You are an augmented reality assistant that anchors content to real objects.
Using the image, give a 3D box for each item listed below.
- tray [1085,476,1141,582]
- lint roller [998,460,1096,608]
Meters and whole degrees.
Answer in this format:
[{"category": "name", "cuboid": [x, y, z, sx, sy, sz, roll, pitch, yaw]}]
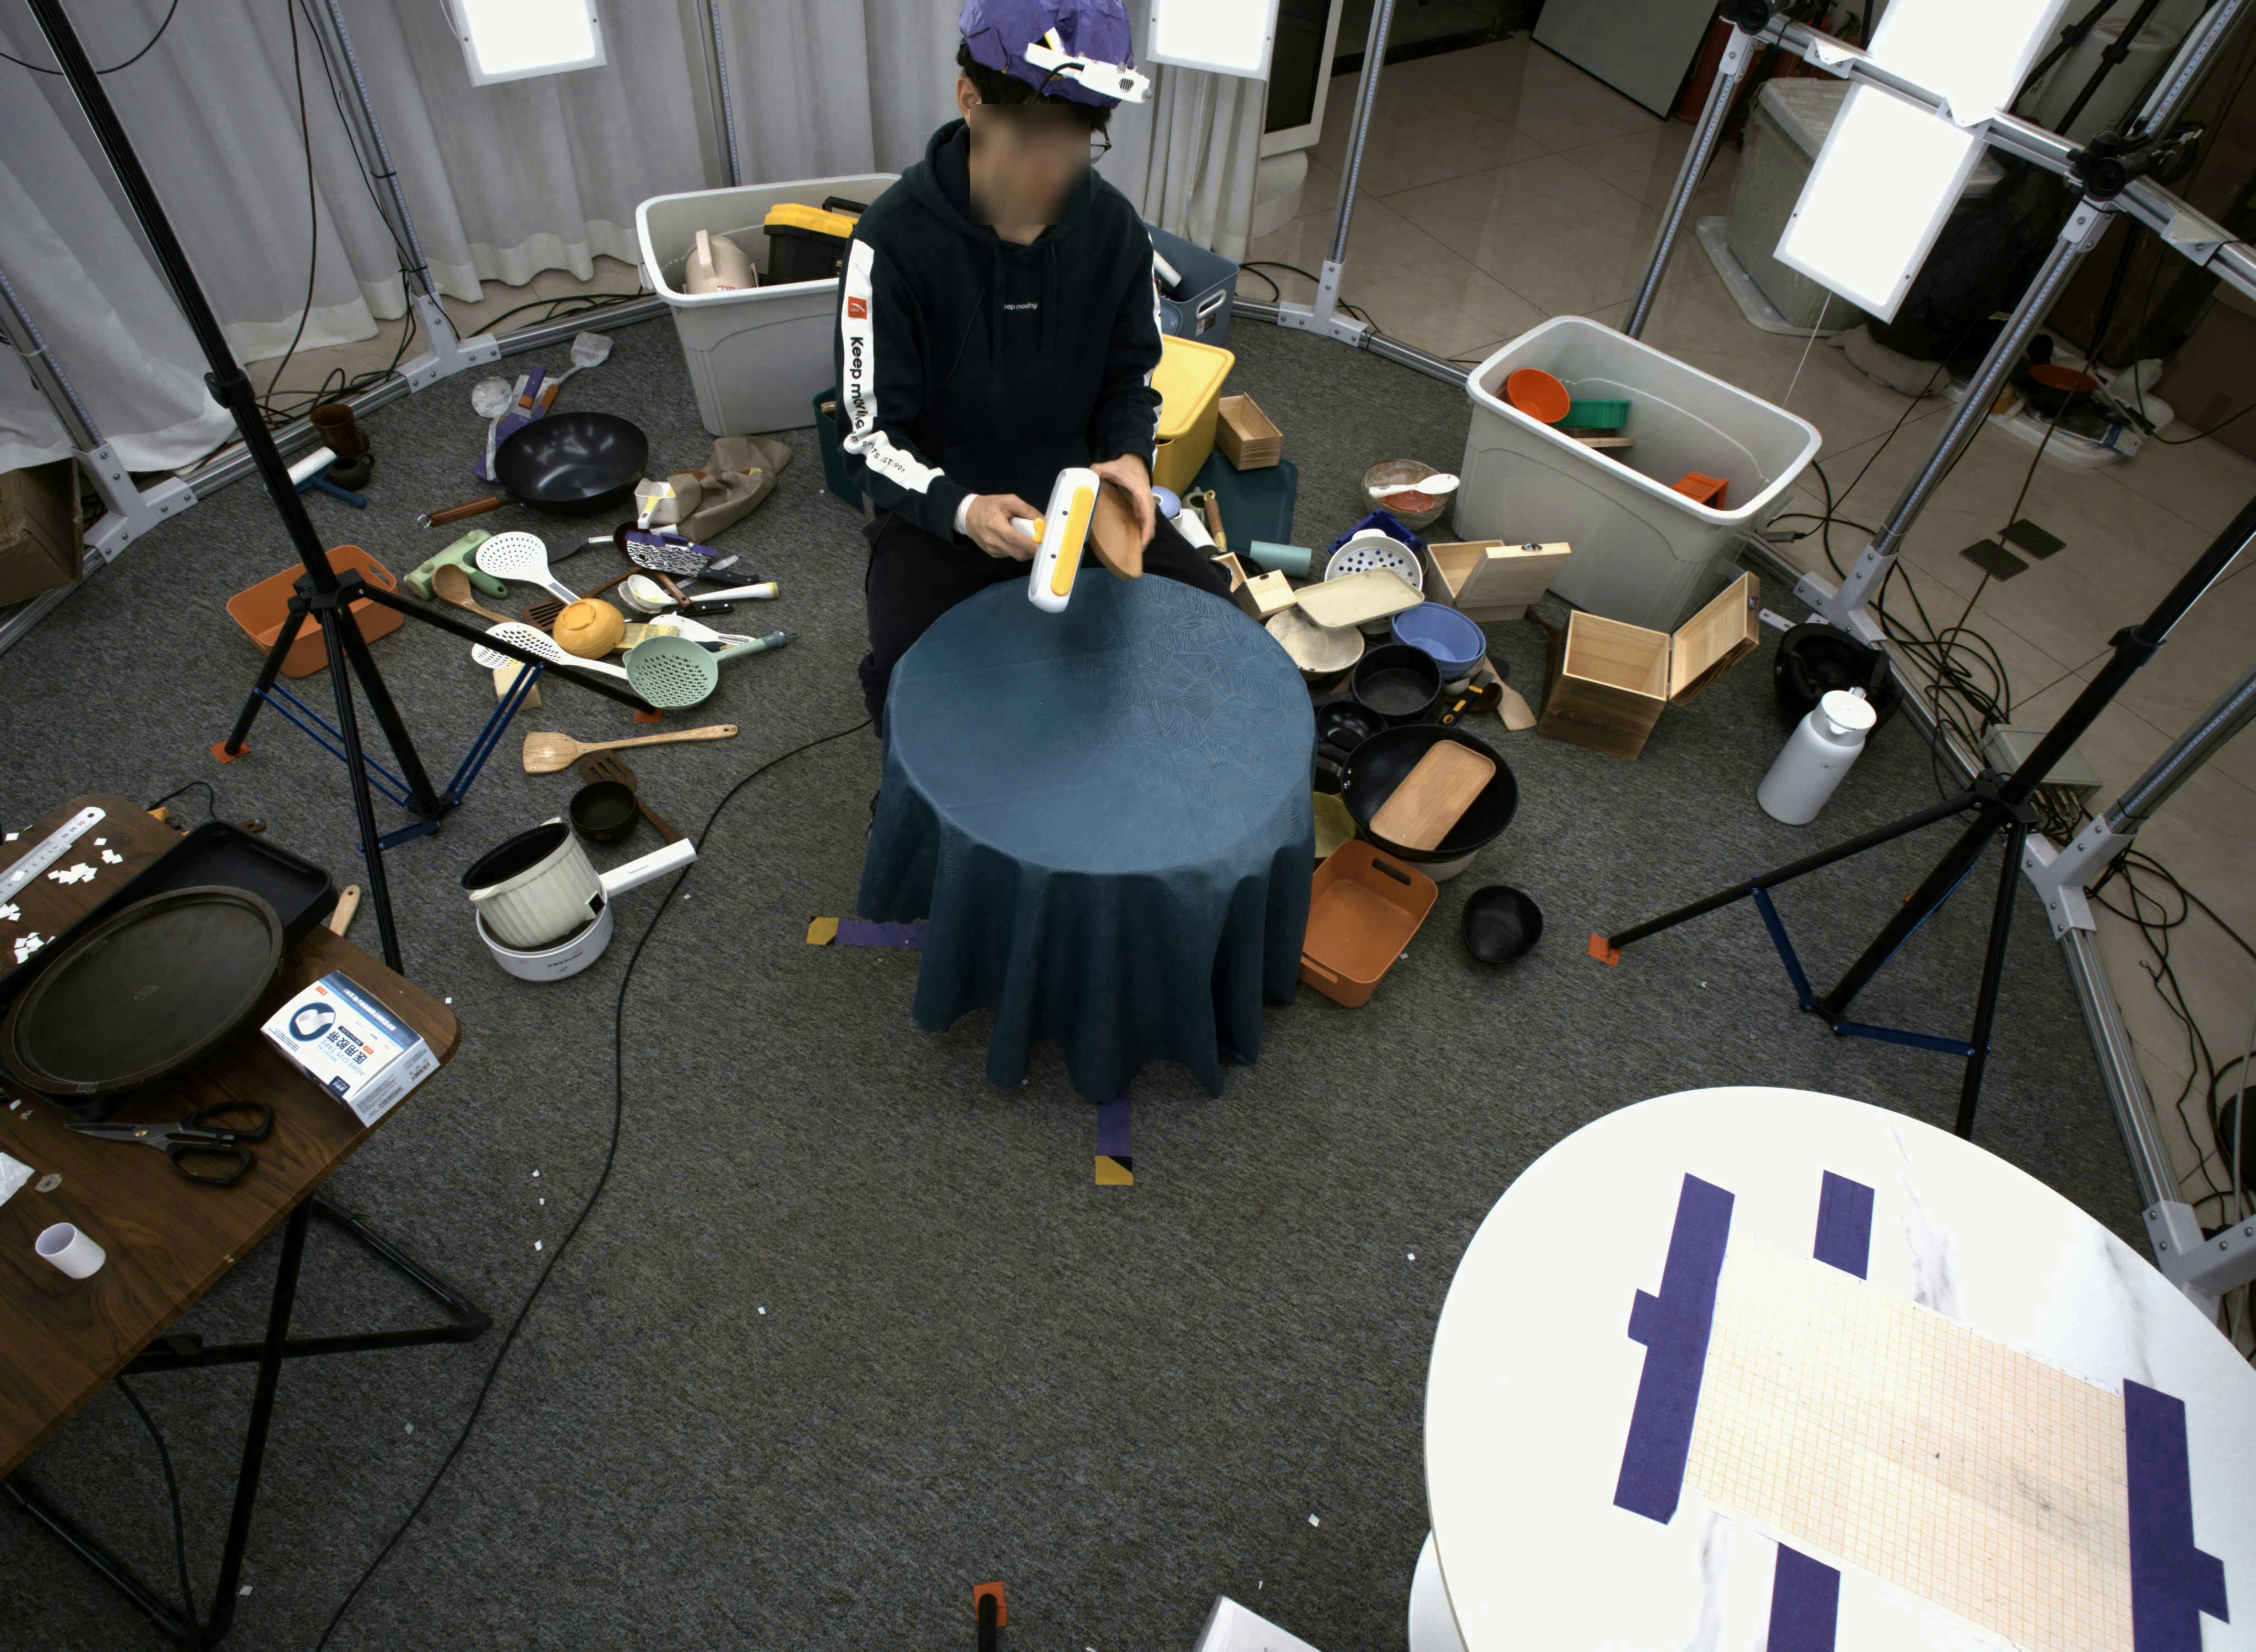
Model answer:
[{"category": "tray", "cuboid": [-0.021, -0.416, 1.804, 0.100, 0.020, 0.237, 39, 30, -26]}, {"category": "lint roller", "cuboid": [-0.116, -0.394, 1.742, 0.074, 0.192, 0.194, 7, 6, -26]}]
